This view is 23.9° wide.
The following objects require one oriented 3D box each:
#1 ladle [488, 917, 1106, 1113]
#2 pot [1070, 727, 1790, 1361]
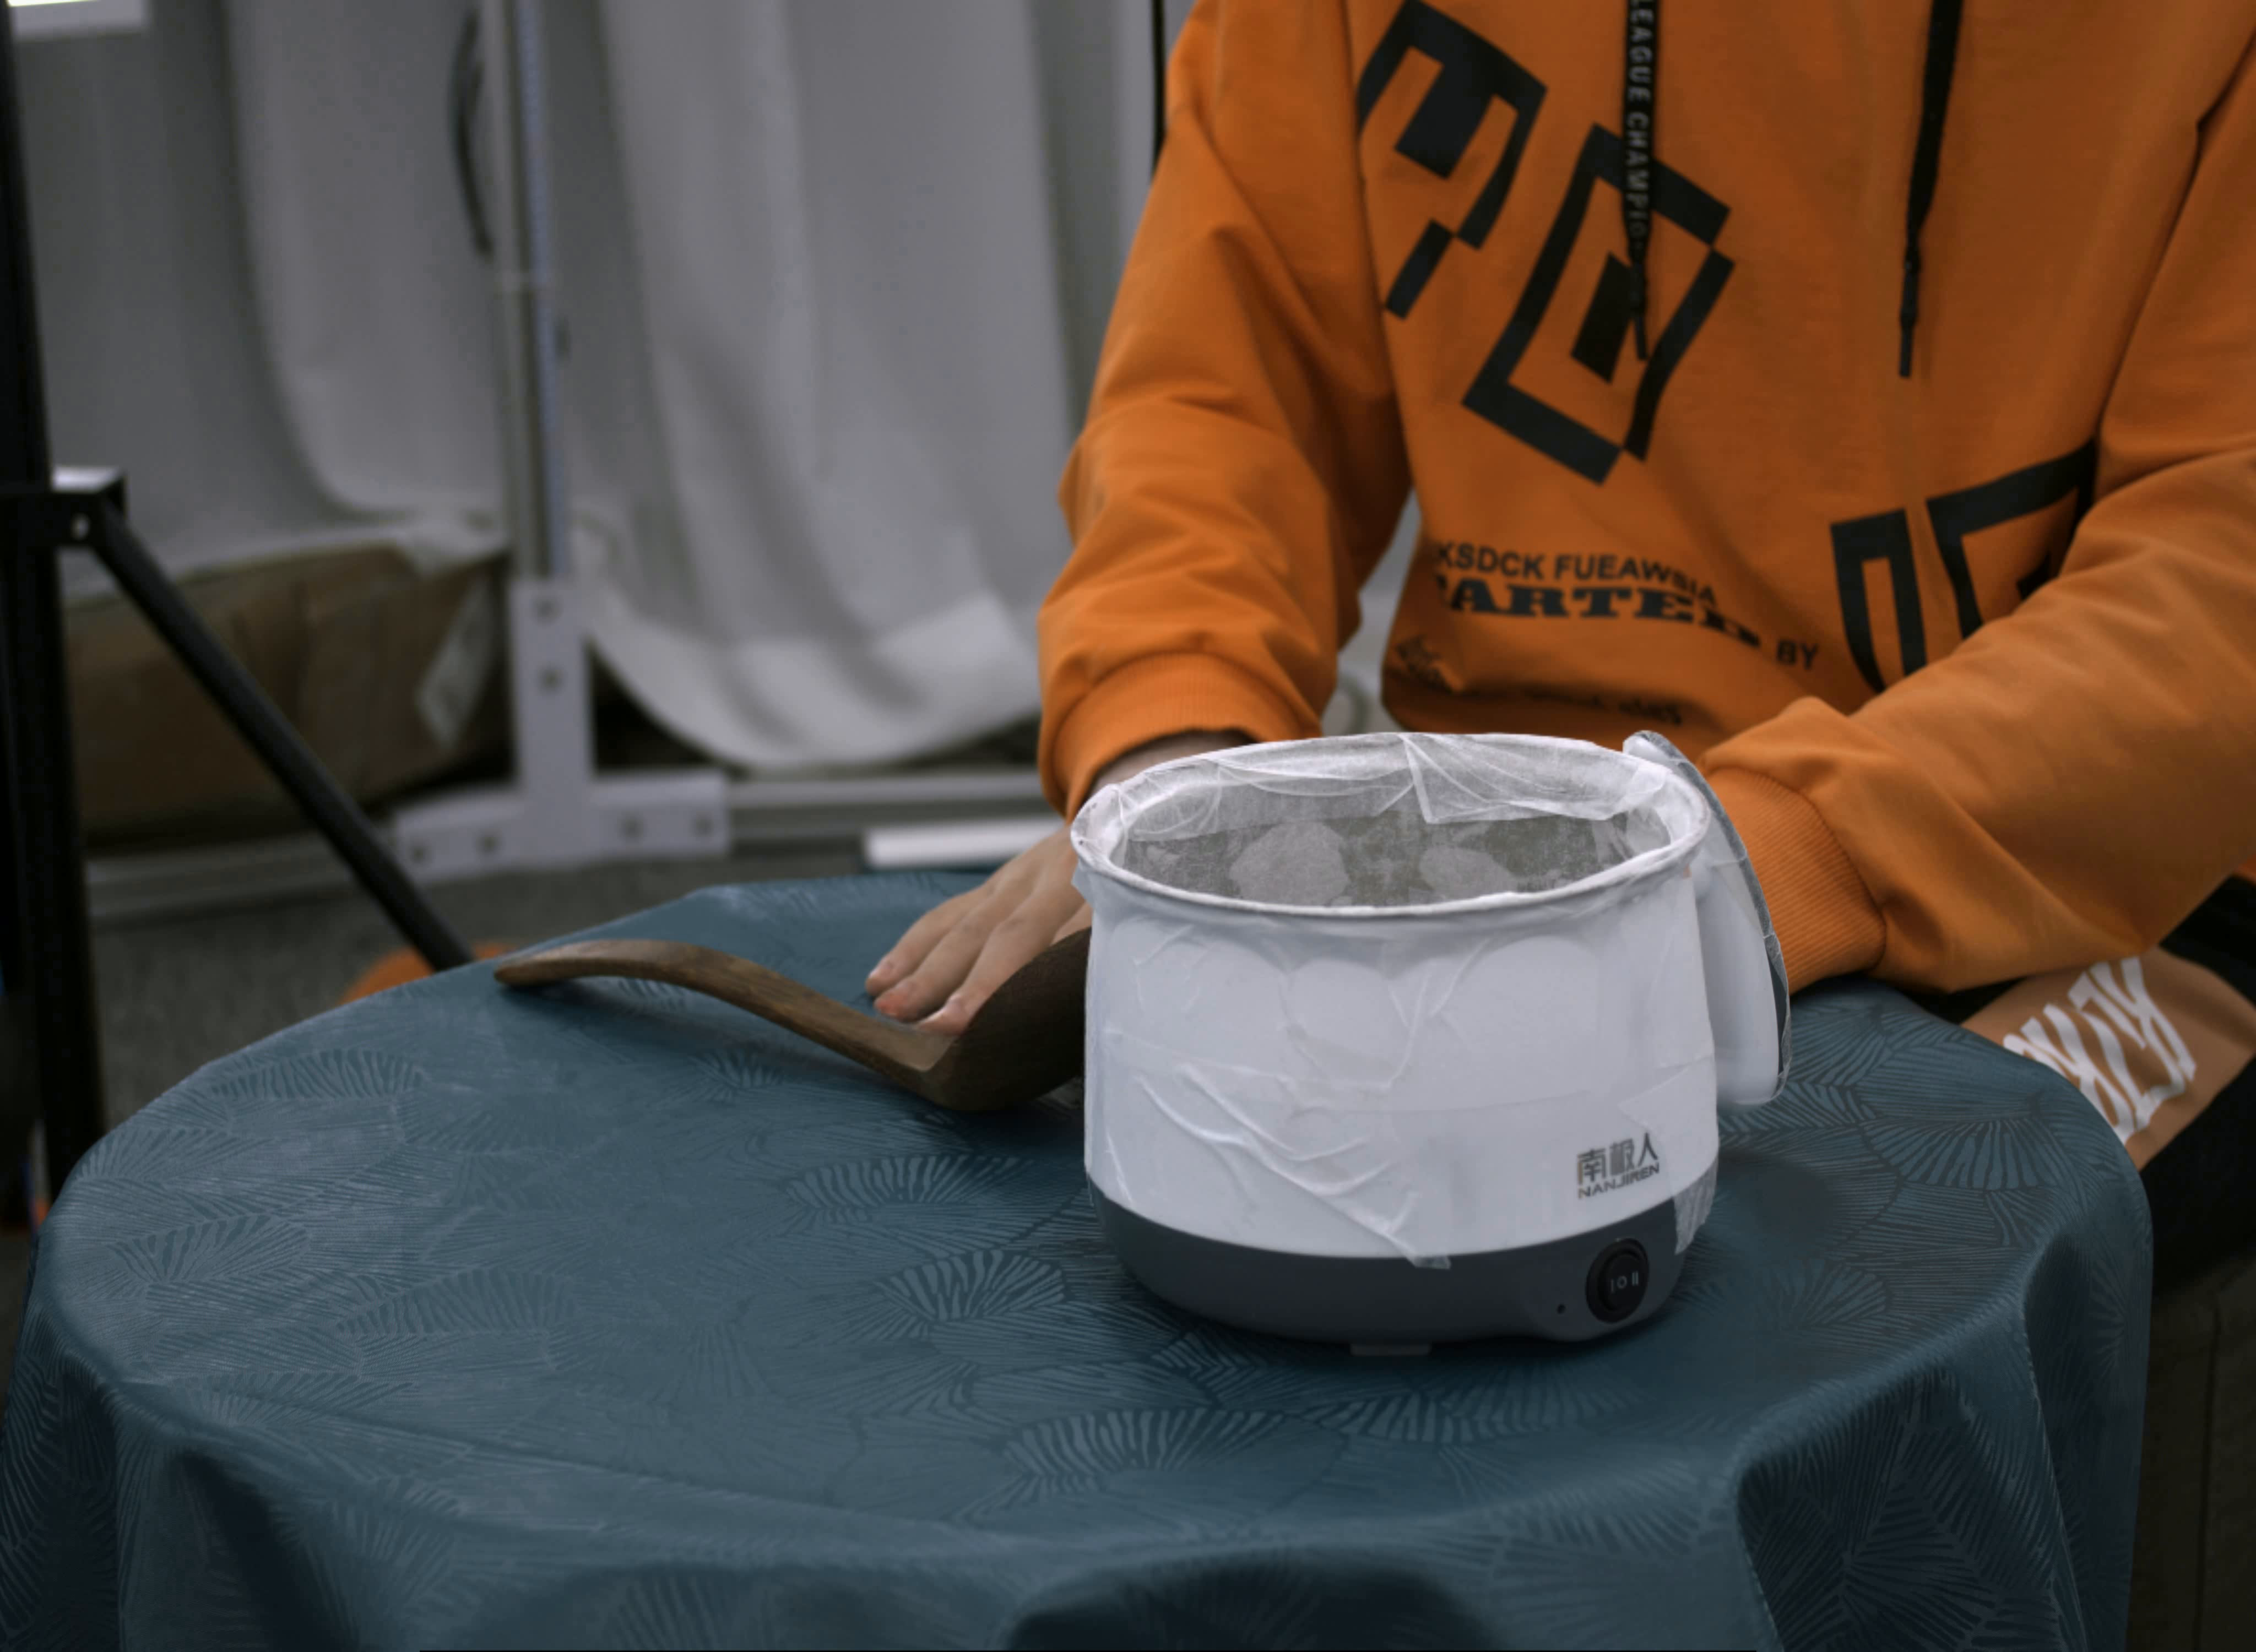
[{"bbox_3d":[-0.107,0.040,1.688,0.280,0.071,0.074,13,19,43],"label":"ladle"},{"bbox_3d":[0.095,0.053,1.485,0.228,0.136,0.183,-15,21,-38],"label":"pot"}]
